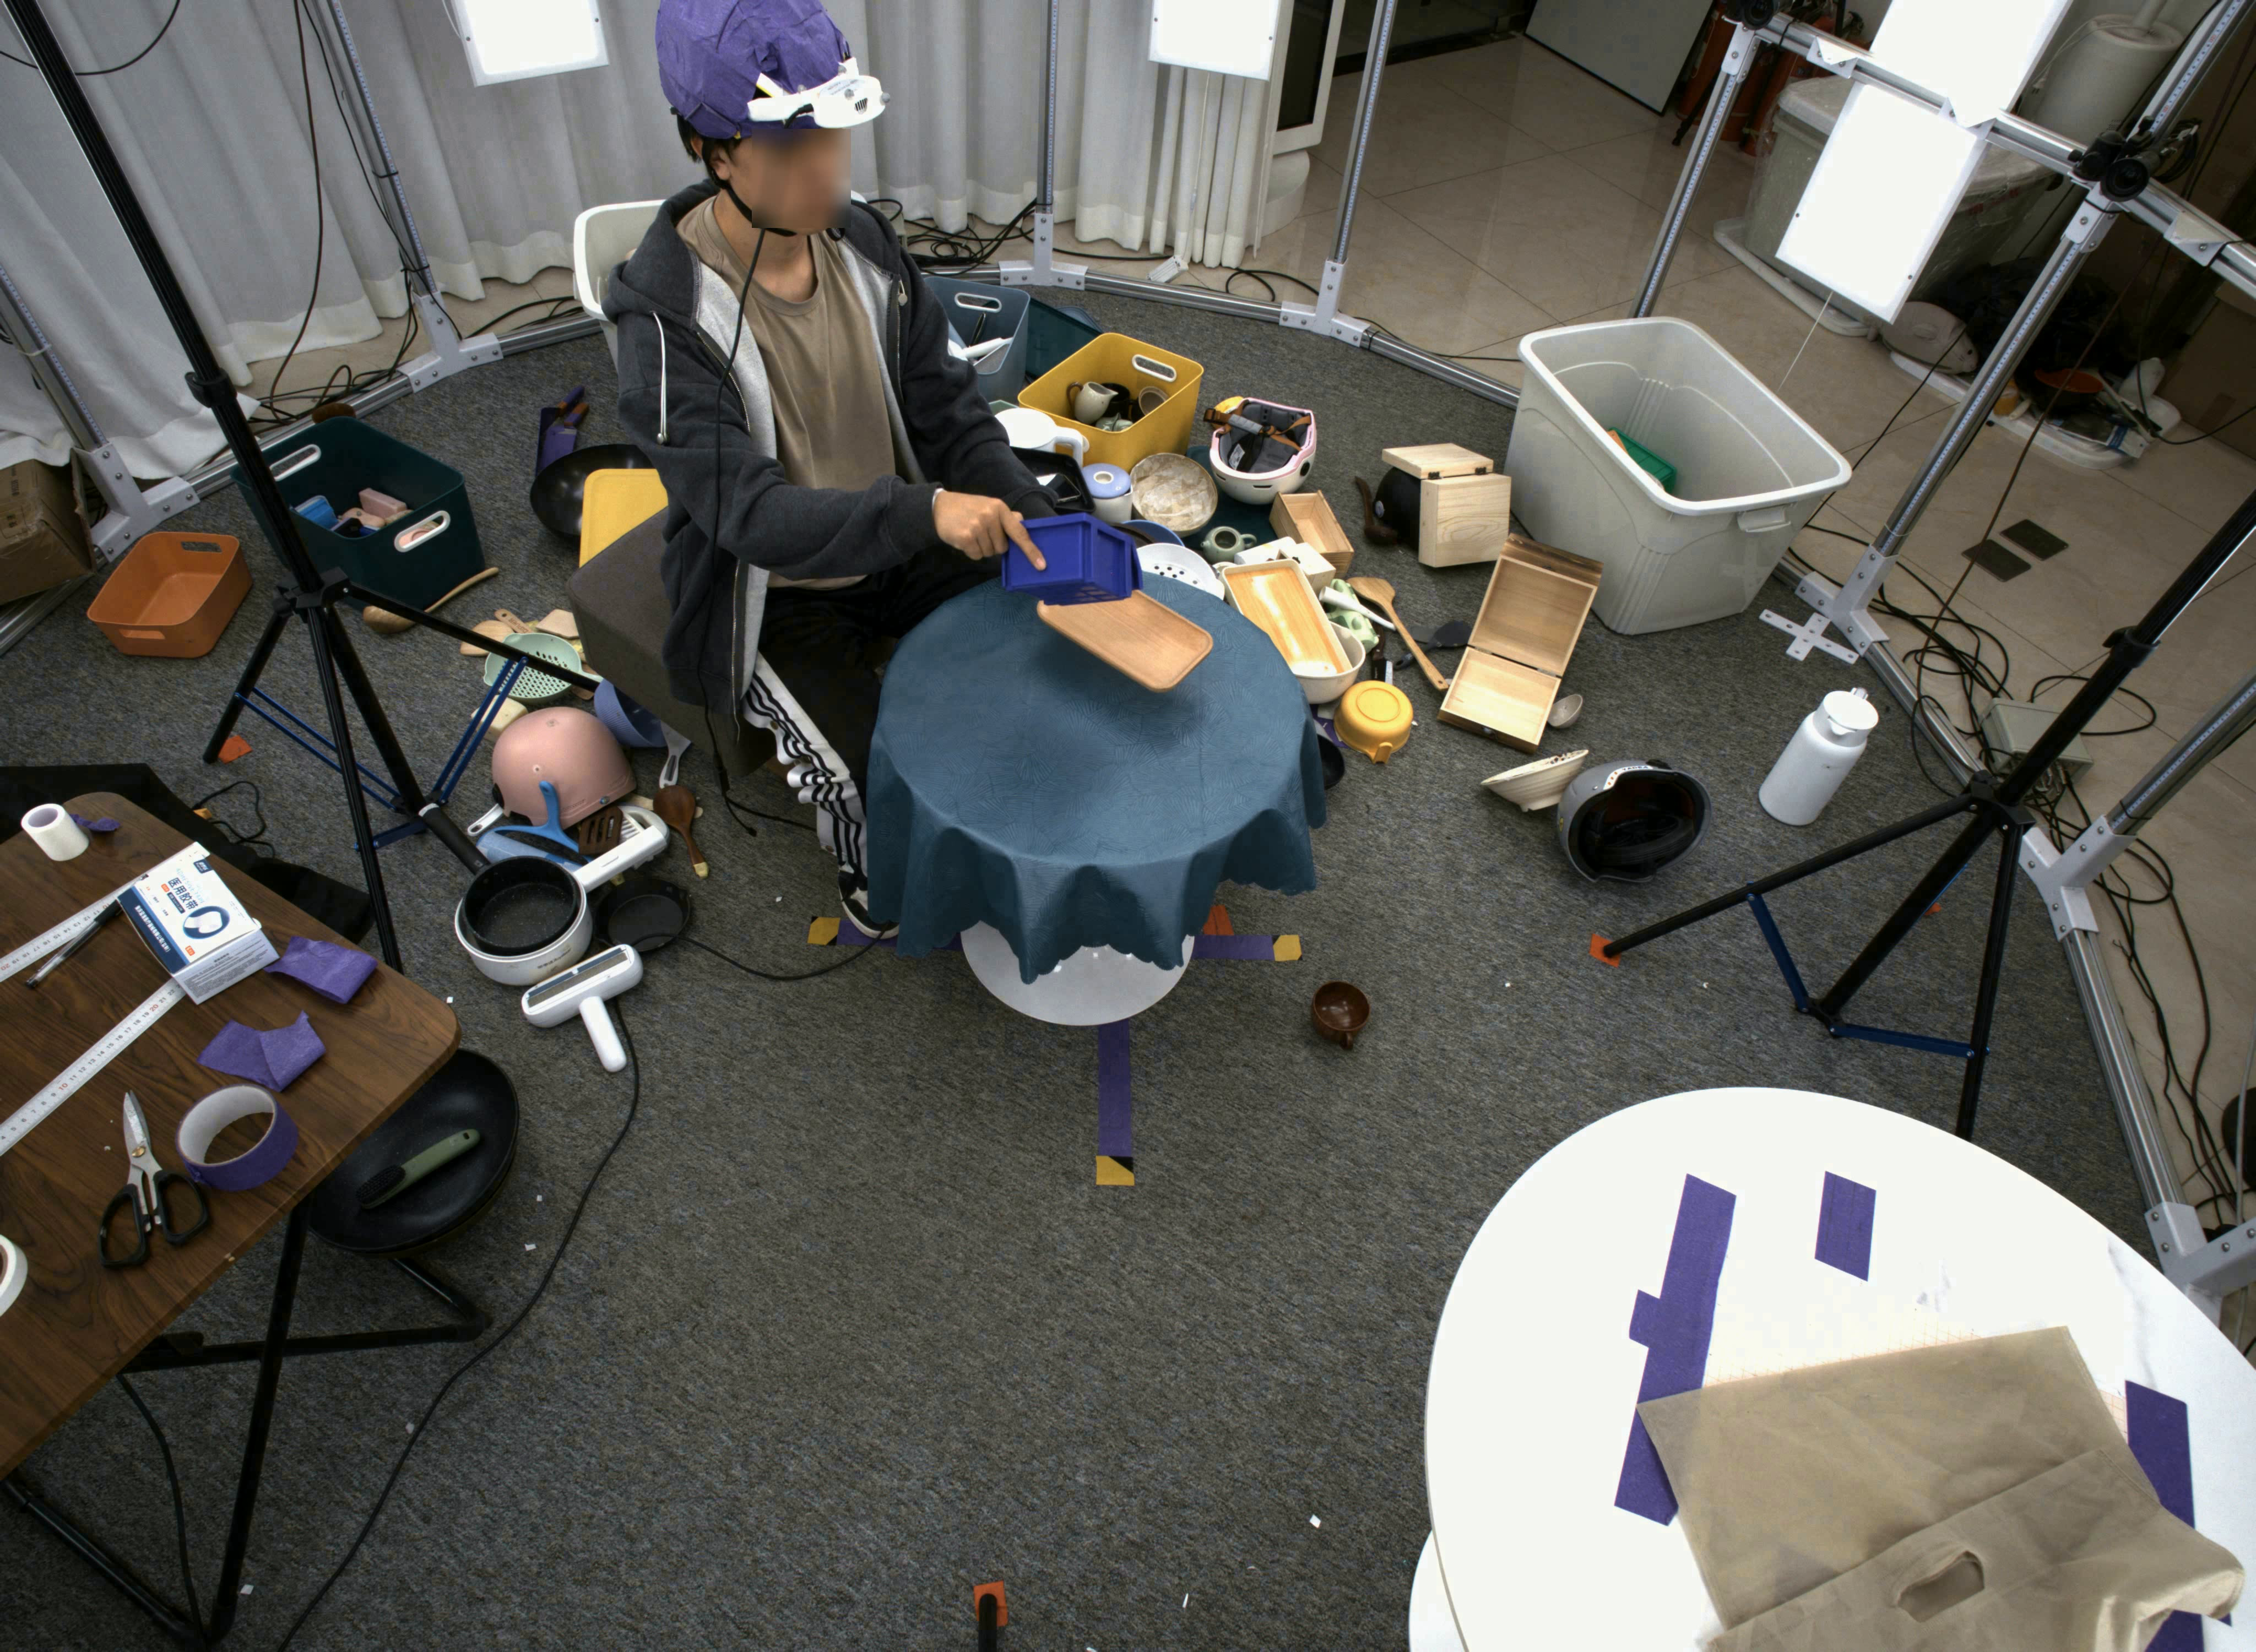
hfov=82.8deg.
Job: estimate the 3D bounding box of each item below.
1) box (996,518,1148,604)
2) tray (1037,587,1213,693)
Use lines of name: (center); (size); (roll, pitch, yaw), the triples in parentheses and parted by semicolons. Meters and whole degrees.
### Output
box: (-0.069, -0.331, 1.634); (0.125, 0.082, 0.179); (-1, 3, 27)
tray: (-0.006, -0.280, 1.815); (0.254, 0.022, 0.132); (35, 62, 25)
